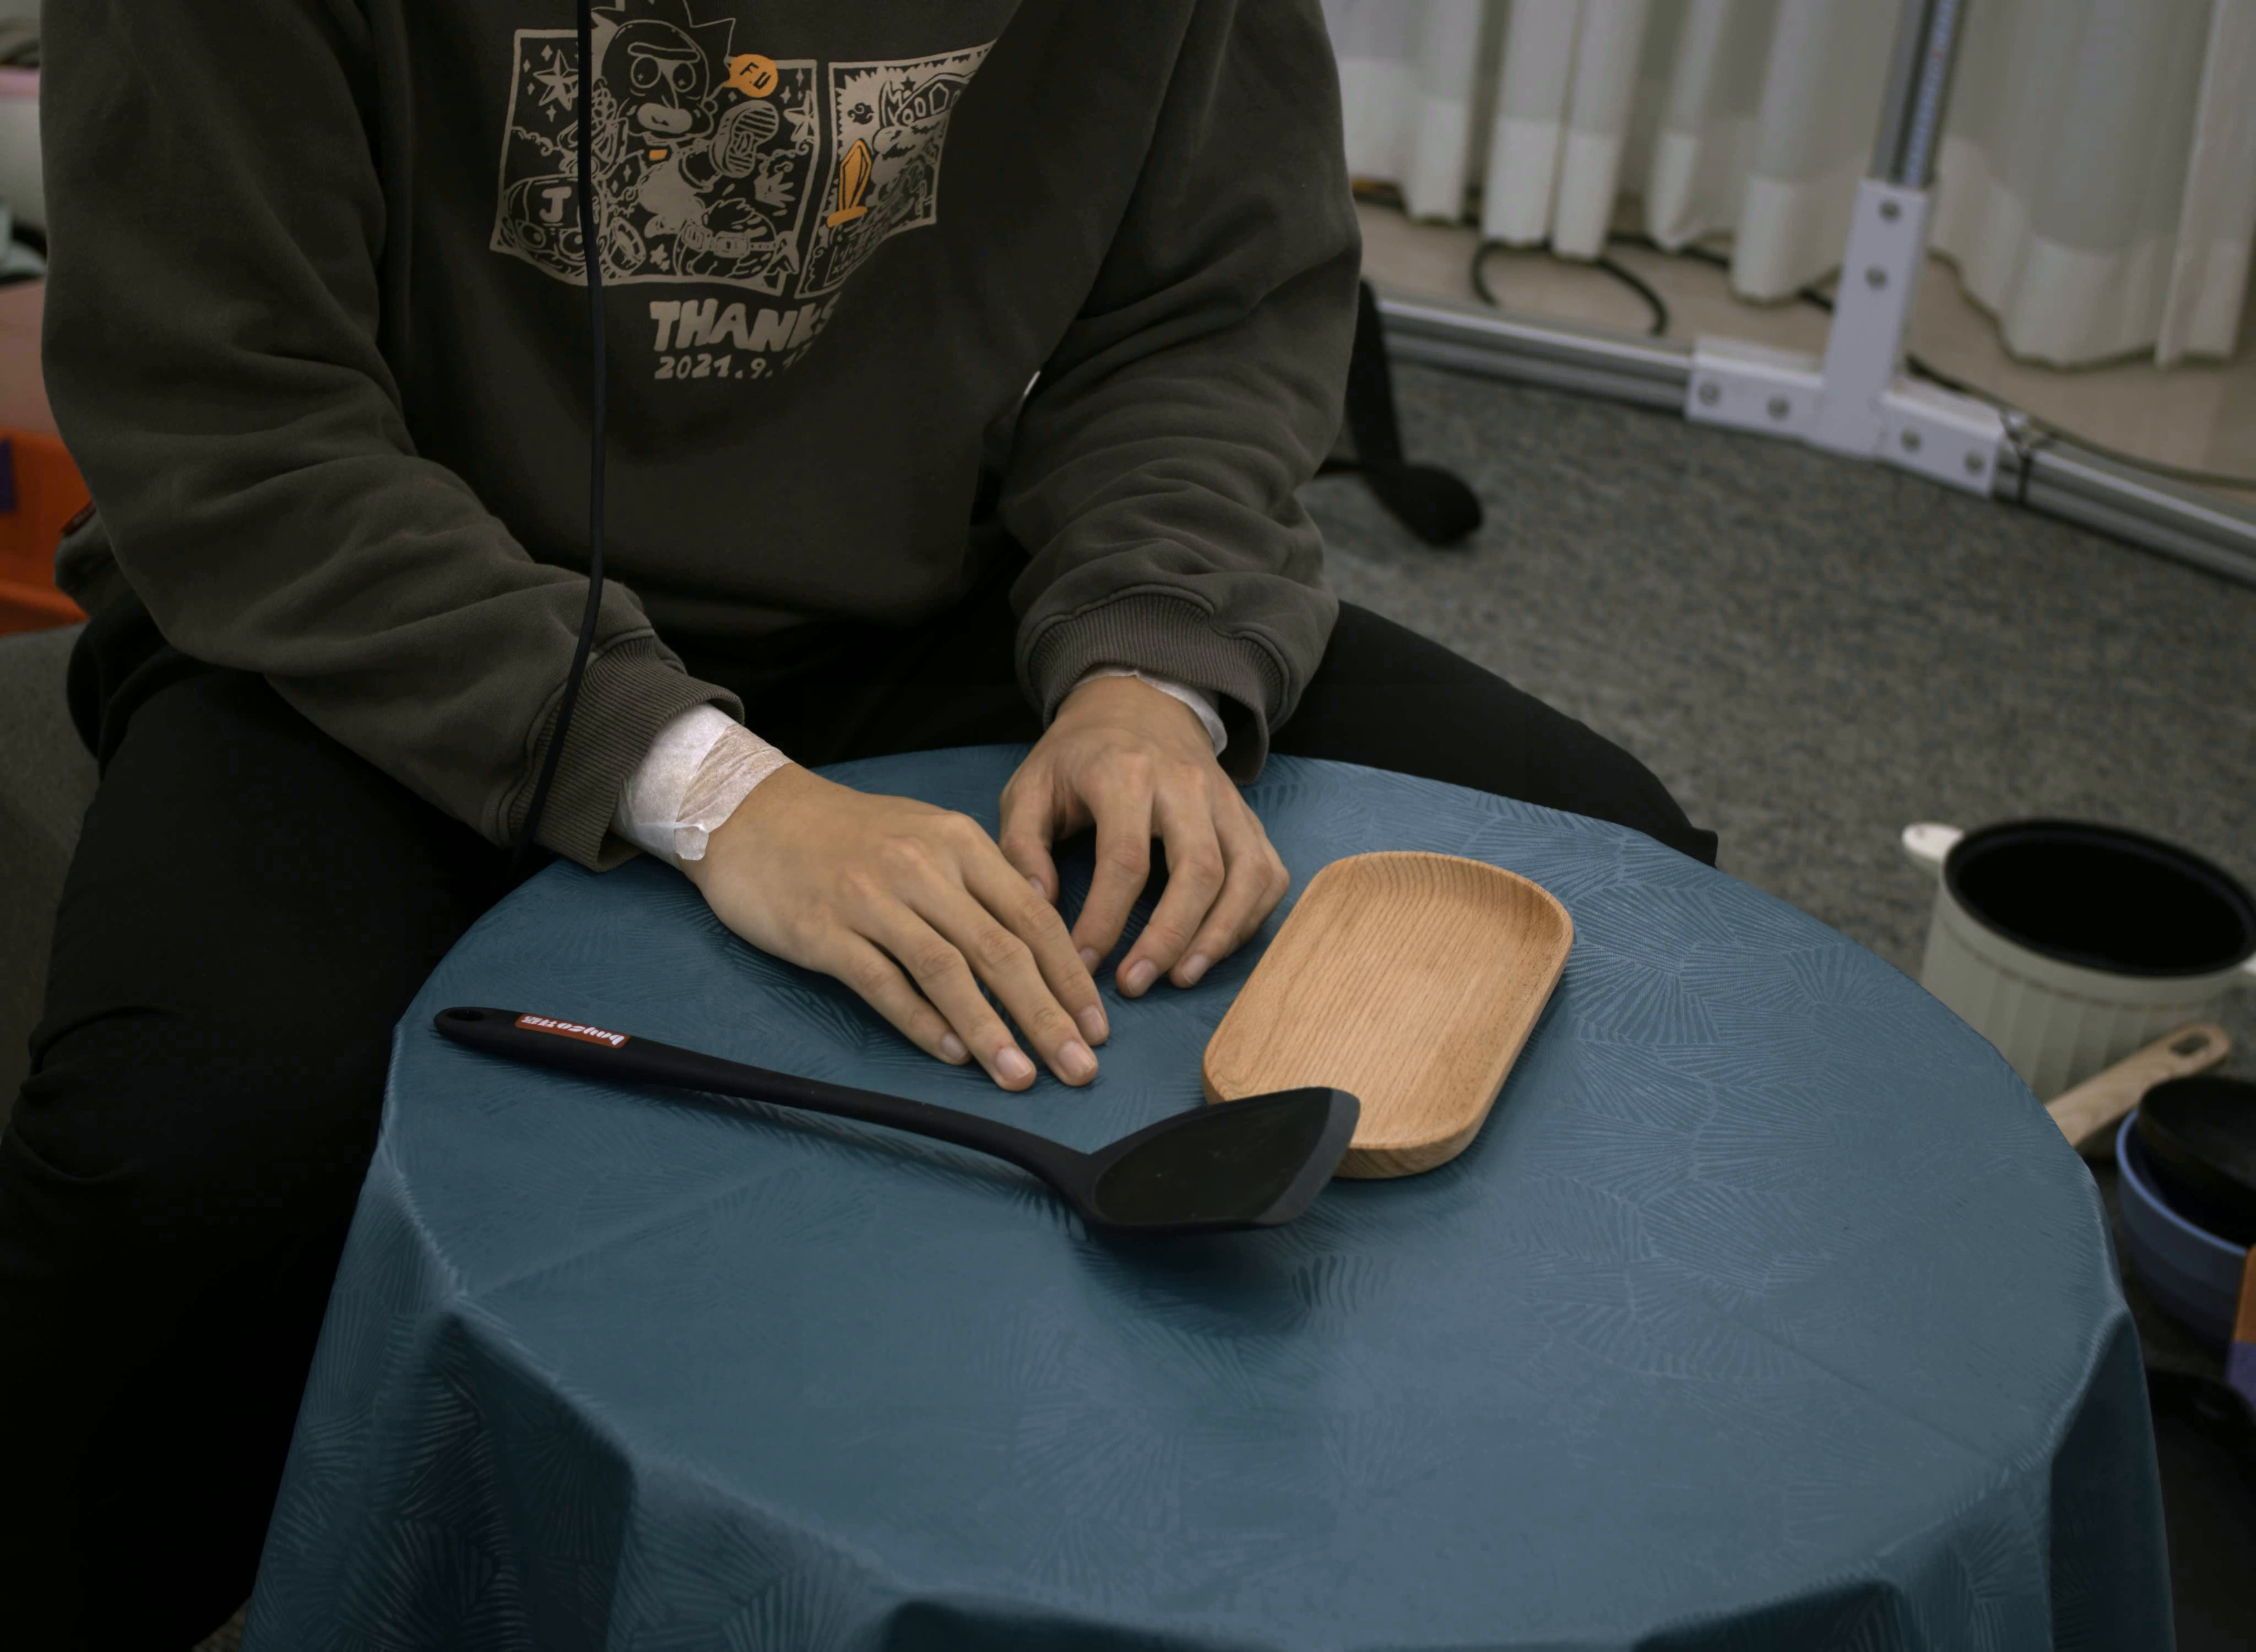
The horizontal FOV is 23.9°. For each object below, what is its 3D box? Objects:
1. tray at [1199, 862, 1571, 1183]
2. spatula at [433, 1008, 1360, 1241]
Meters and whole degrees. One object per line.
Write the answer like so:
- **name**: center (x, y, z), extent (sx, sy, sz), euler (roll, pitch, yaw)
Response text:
- **tray**: center (0.094, 0.069, 1.917), extent (0.102, 0.020, 0.231), euler (13, 28, 13)
- **spatula**: center (-0.085, 0.091, 1.809), extent (0.326, 0.040, 0.100), euler (13, 26, 13)
